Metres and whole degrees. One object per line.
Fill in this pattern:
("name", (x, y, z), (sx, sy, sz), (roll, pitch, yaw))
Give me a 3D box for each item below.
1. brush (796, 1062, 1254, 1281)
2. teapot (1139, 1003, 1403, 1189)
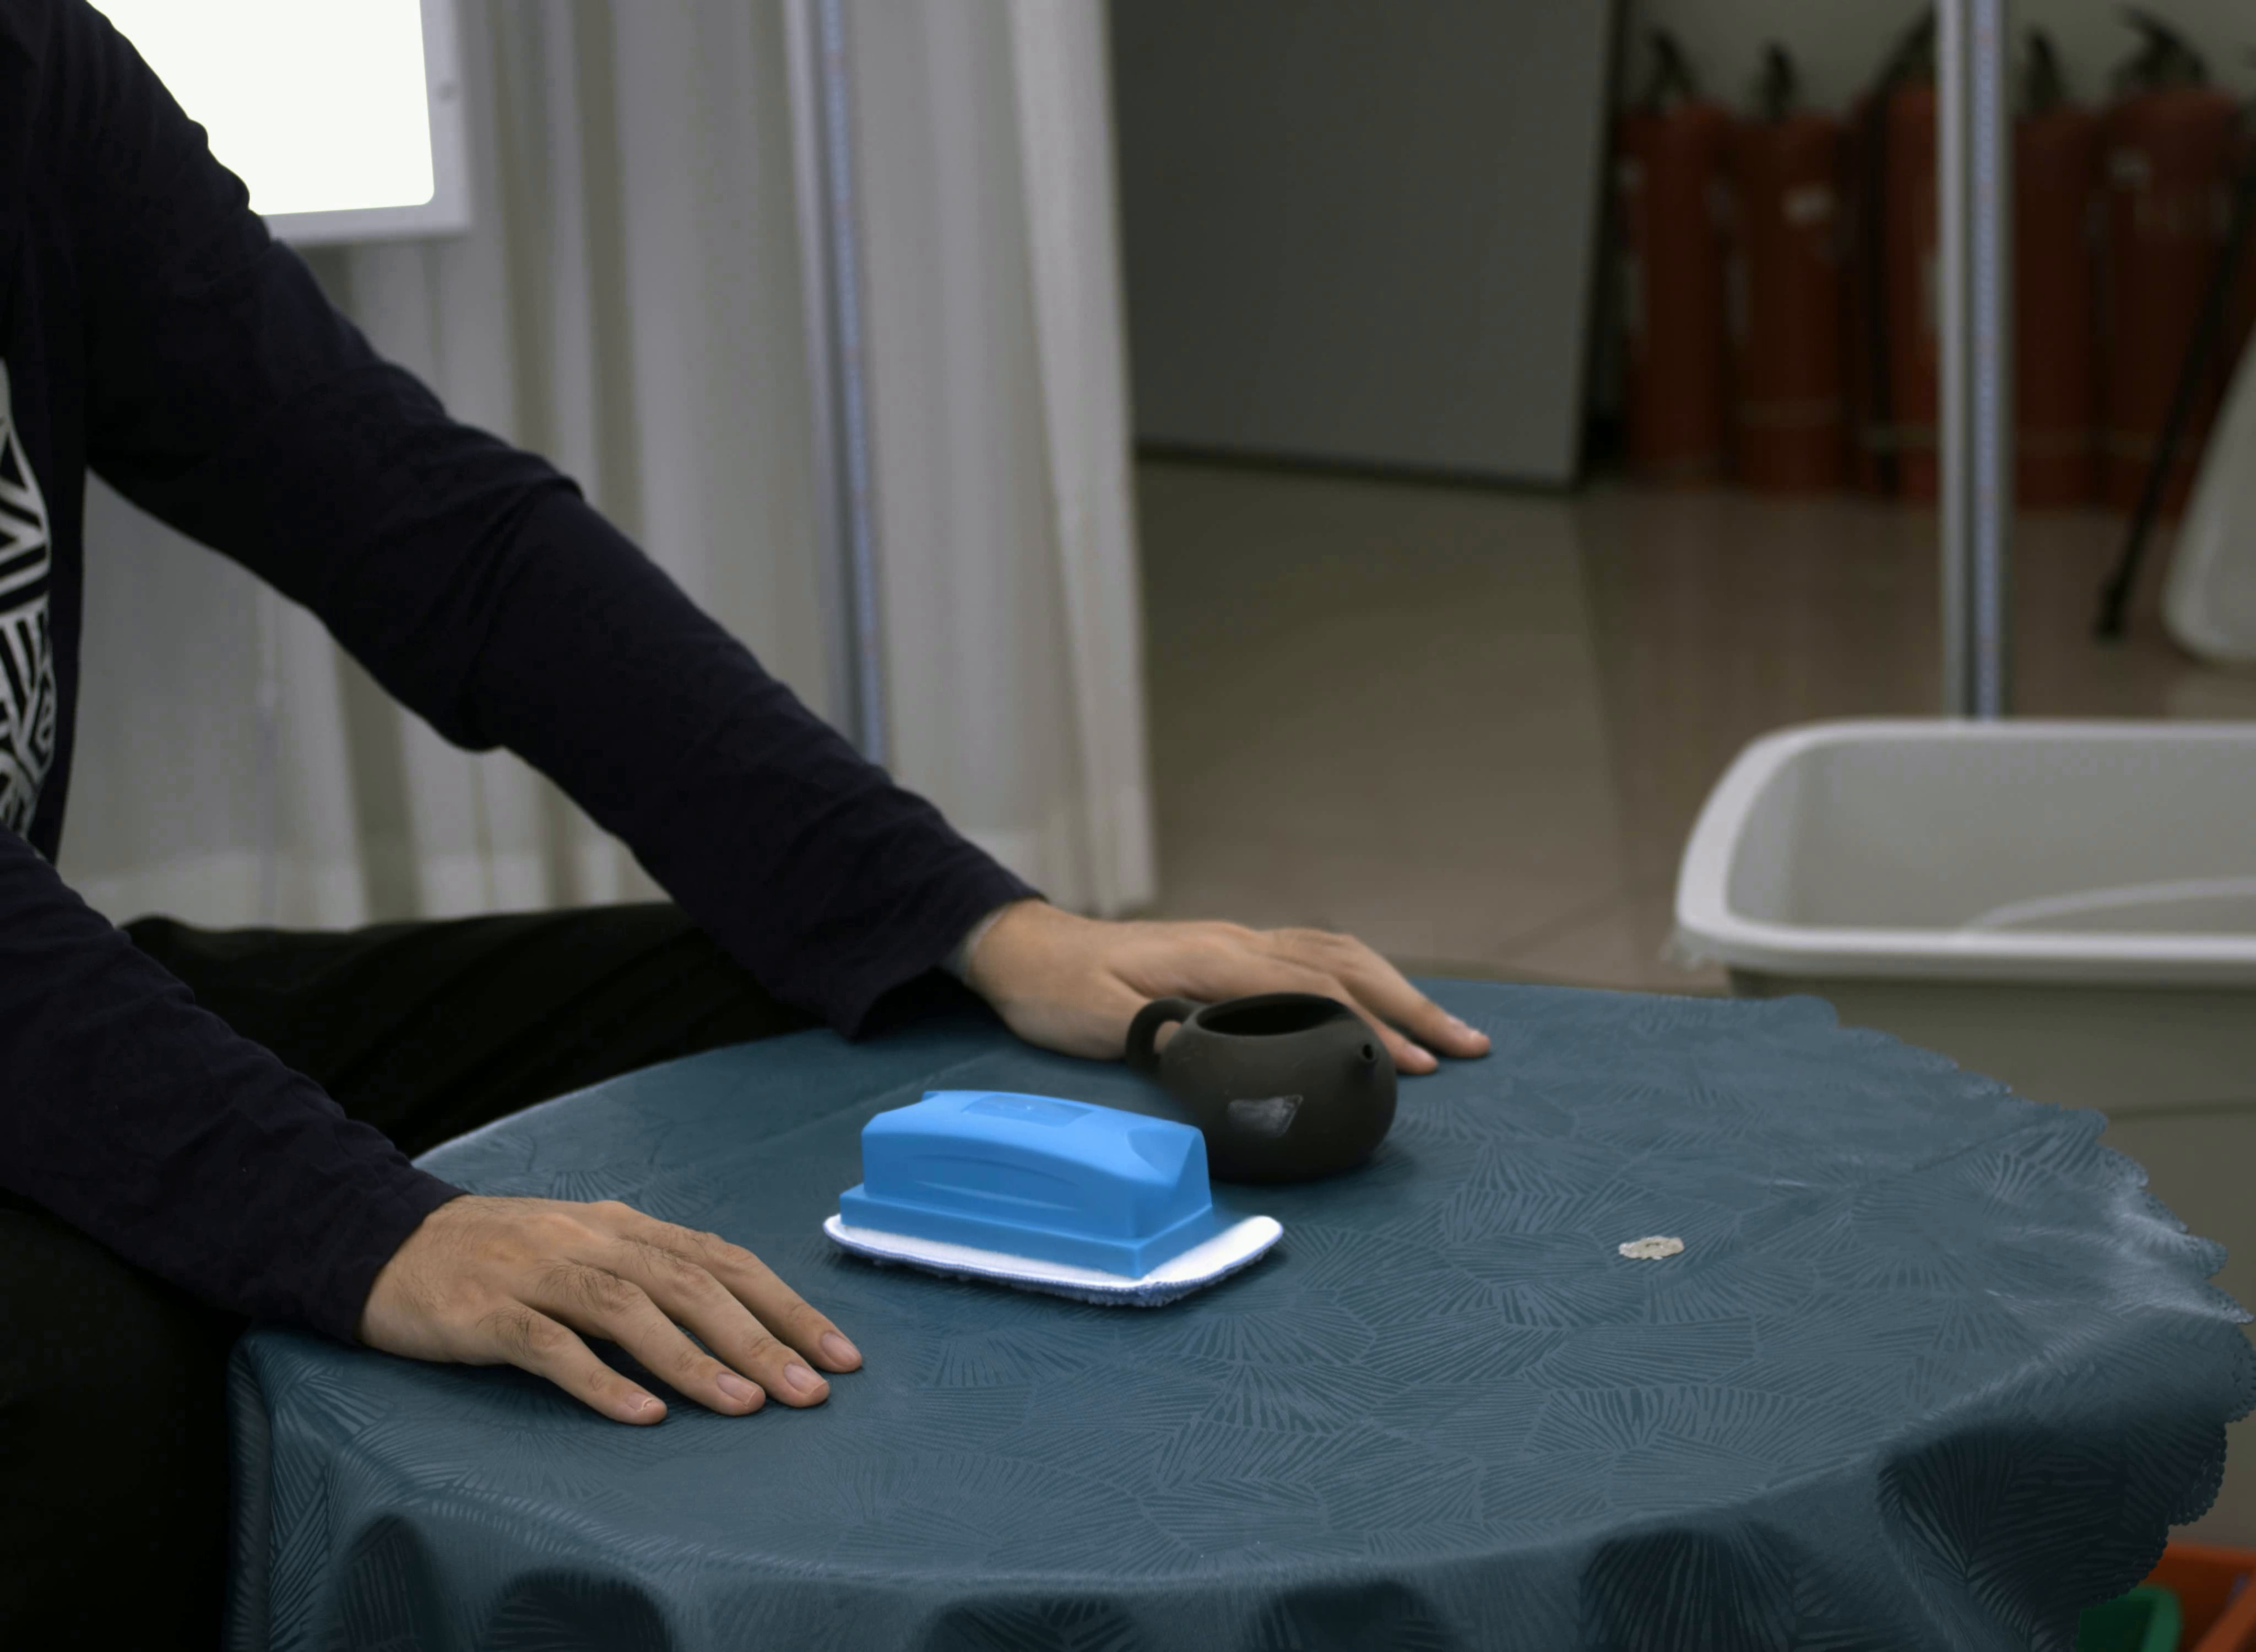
("brush", (-0.032, 0.108, 1.711), (0.145, 0.056, 0.082), (10, 15, 38))
("teapot", (0.043, 0.087, 1.800), (0.081, 0.053, 0.115), (-10, 17, -38))
